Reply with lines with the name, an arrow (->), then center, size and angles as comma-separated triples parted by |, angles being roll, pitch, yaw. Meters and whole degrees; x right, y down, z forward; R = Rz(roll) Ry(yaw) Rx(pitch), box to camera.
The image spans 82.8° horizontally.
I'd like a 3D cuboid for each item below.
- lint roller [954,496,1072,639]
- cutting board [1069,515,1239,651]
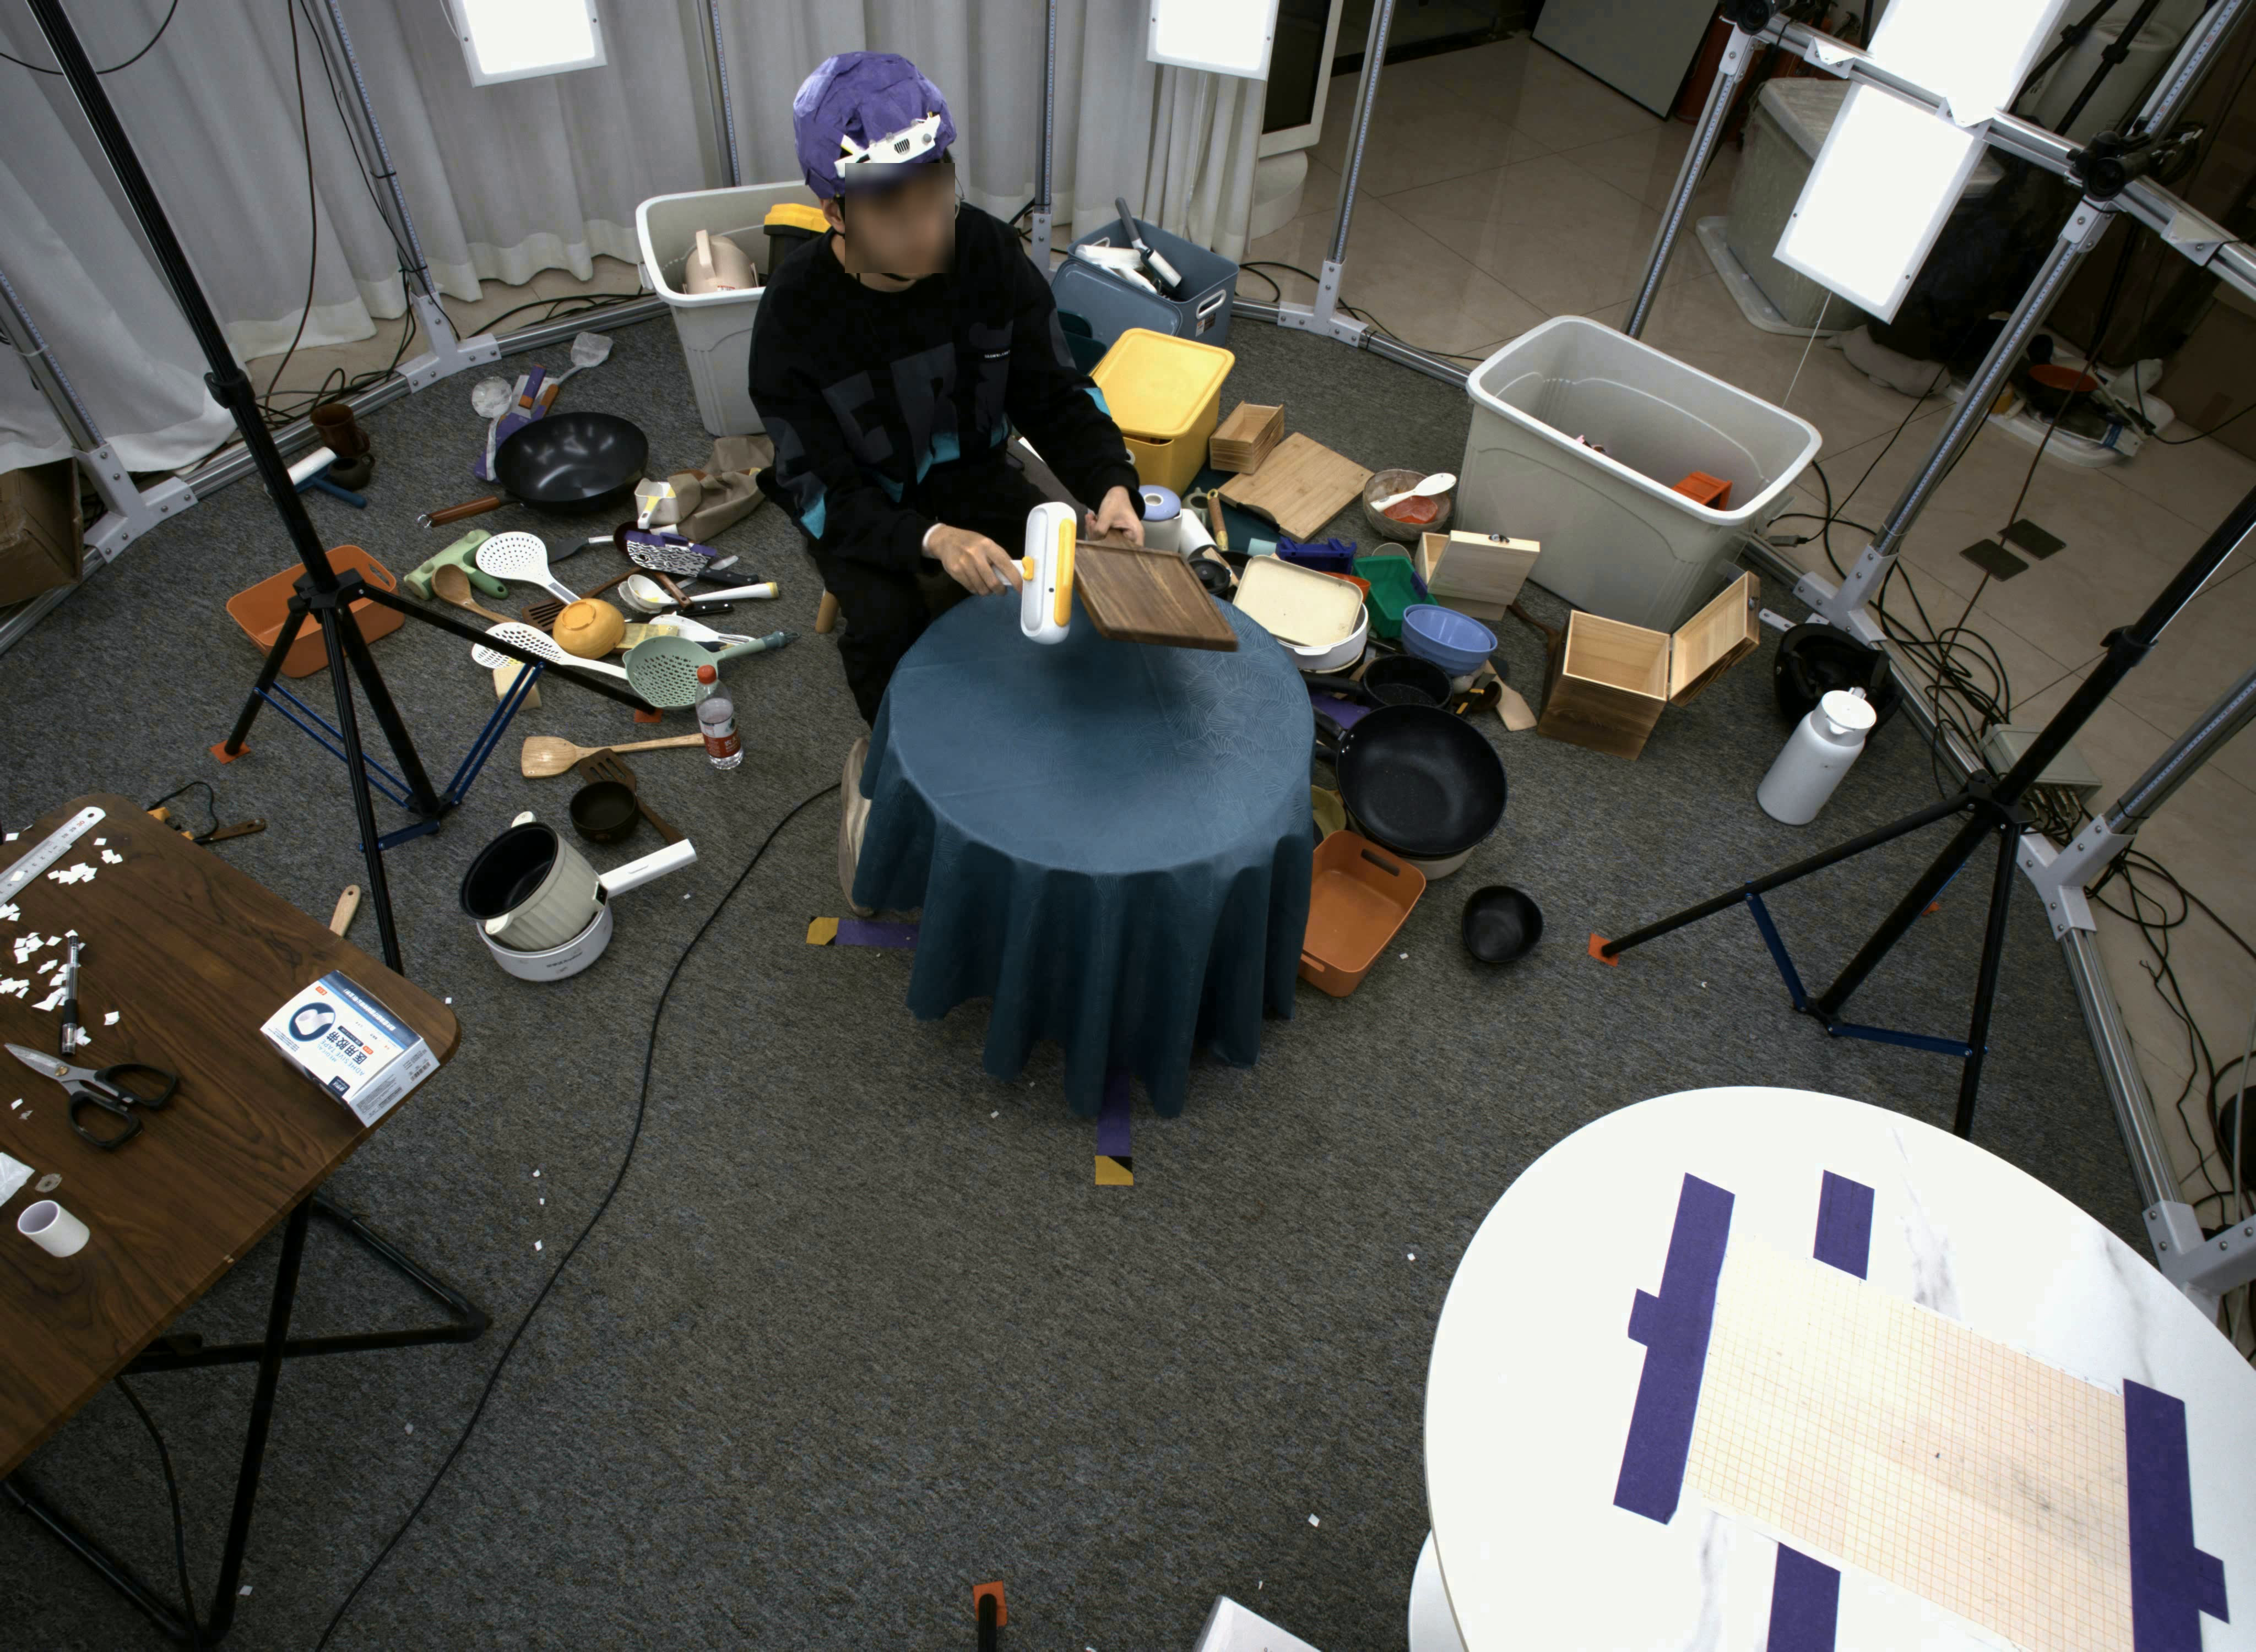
lint roller -> -0.158, -0.354, 1.794 | 0.193, 0.193, 0.074 | 1, 2, 41
cutting board -> 0.008, -0.351, 1.811 | 0.200, 0.023, 0.361 | 2, 37, -22
